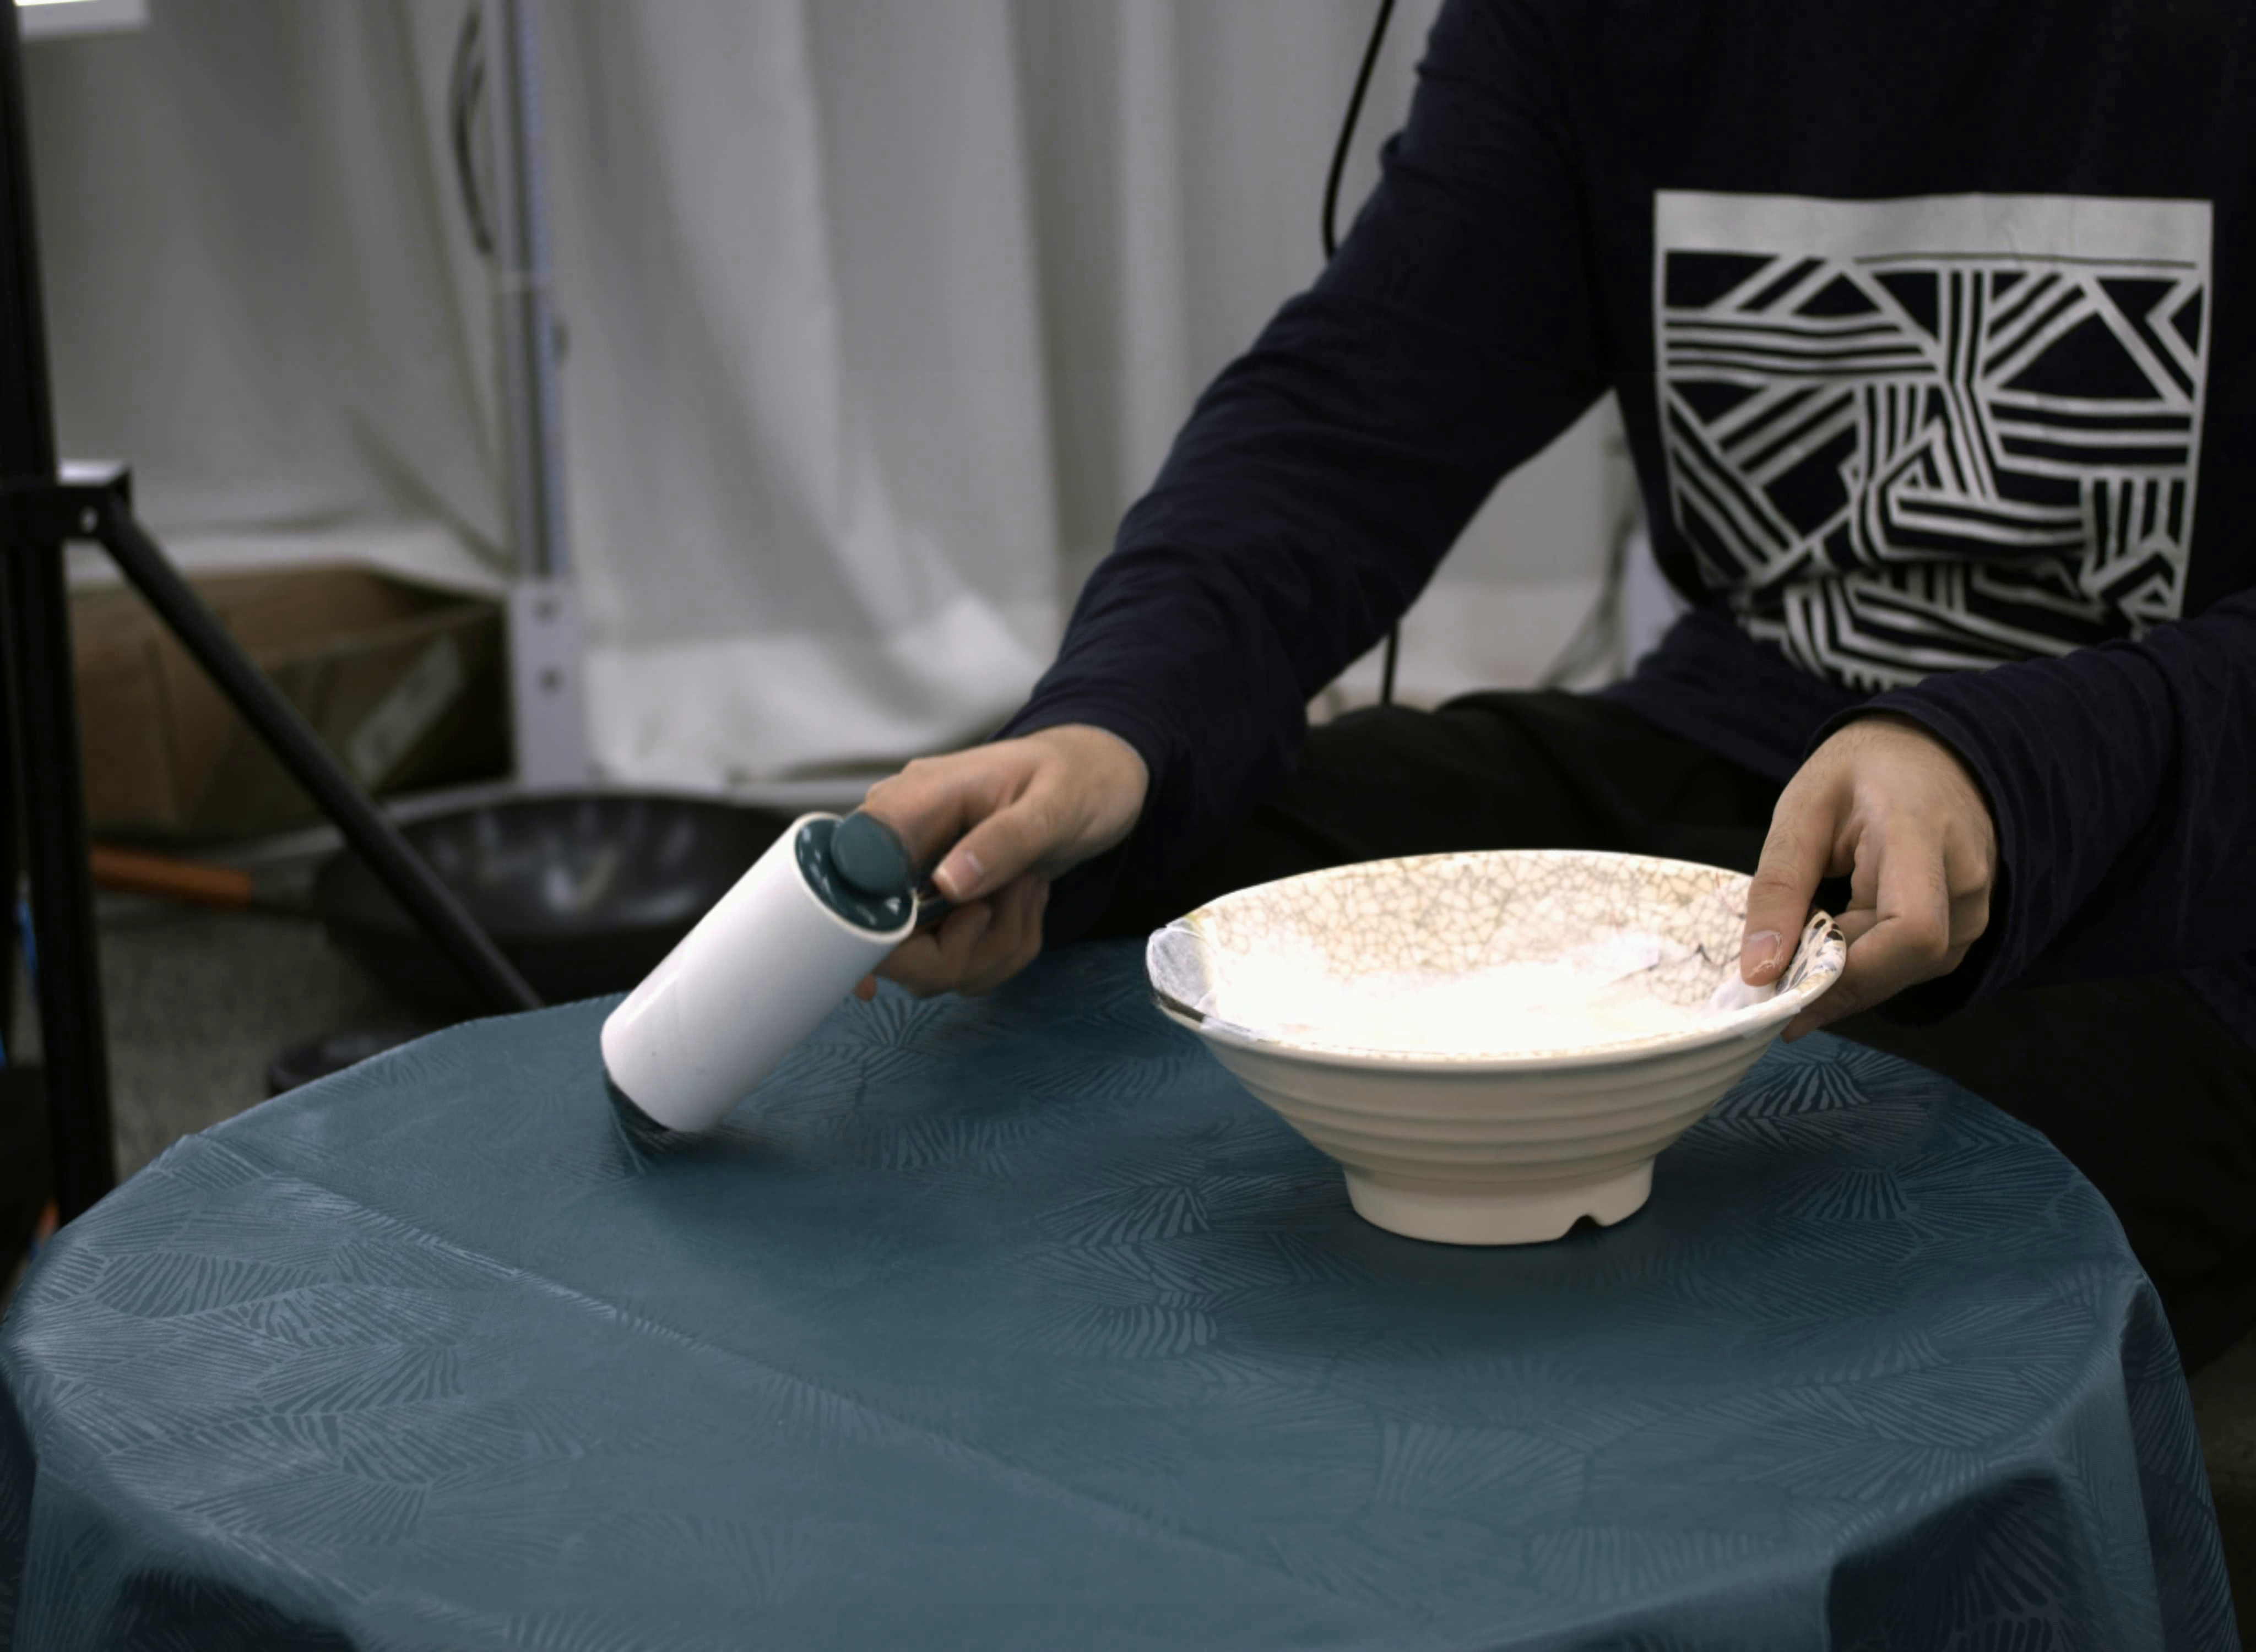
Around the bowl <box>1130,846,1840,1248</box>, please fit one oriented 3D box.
[{"bbox_3d":[0.103,0.071,1.531,0.203,0.078,0.205,-2,15,-1],"label":"bowl"}]

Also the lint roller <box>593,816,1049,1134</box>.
[{"bbox_3d":[-0.082,0.028,1.649,0.135,0.048,0.177,-43,-6,31],"label":"lint roller"}]
